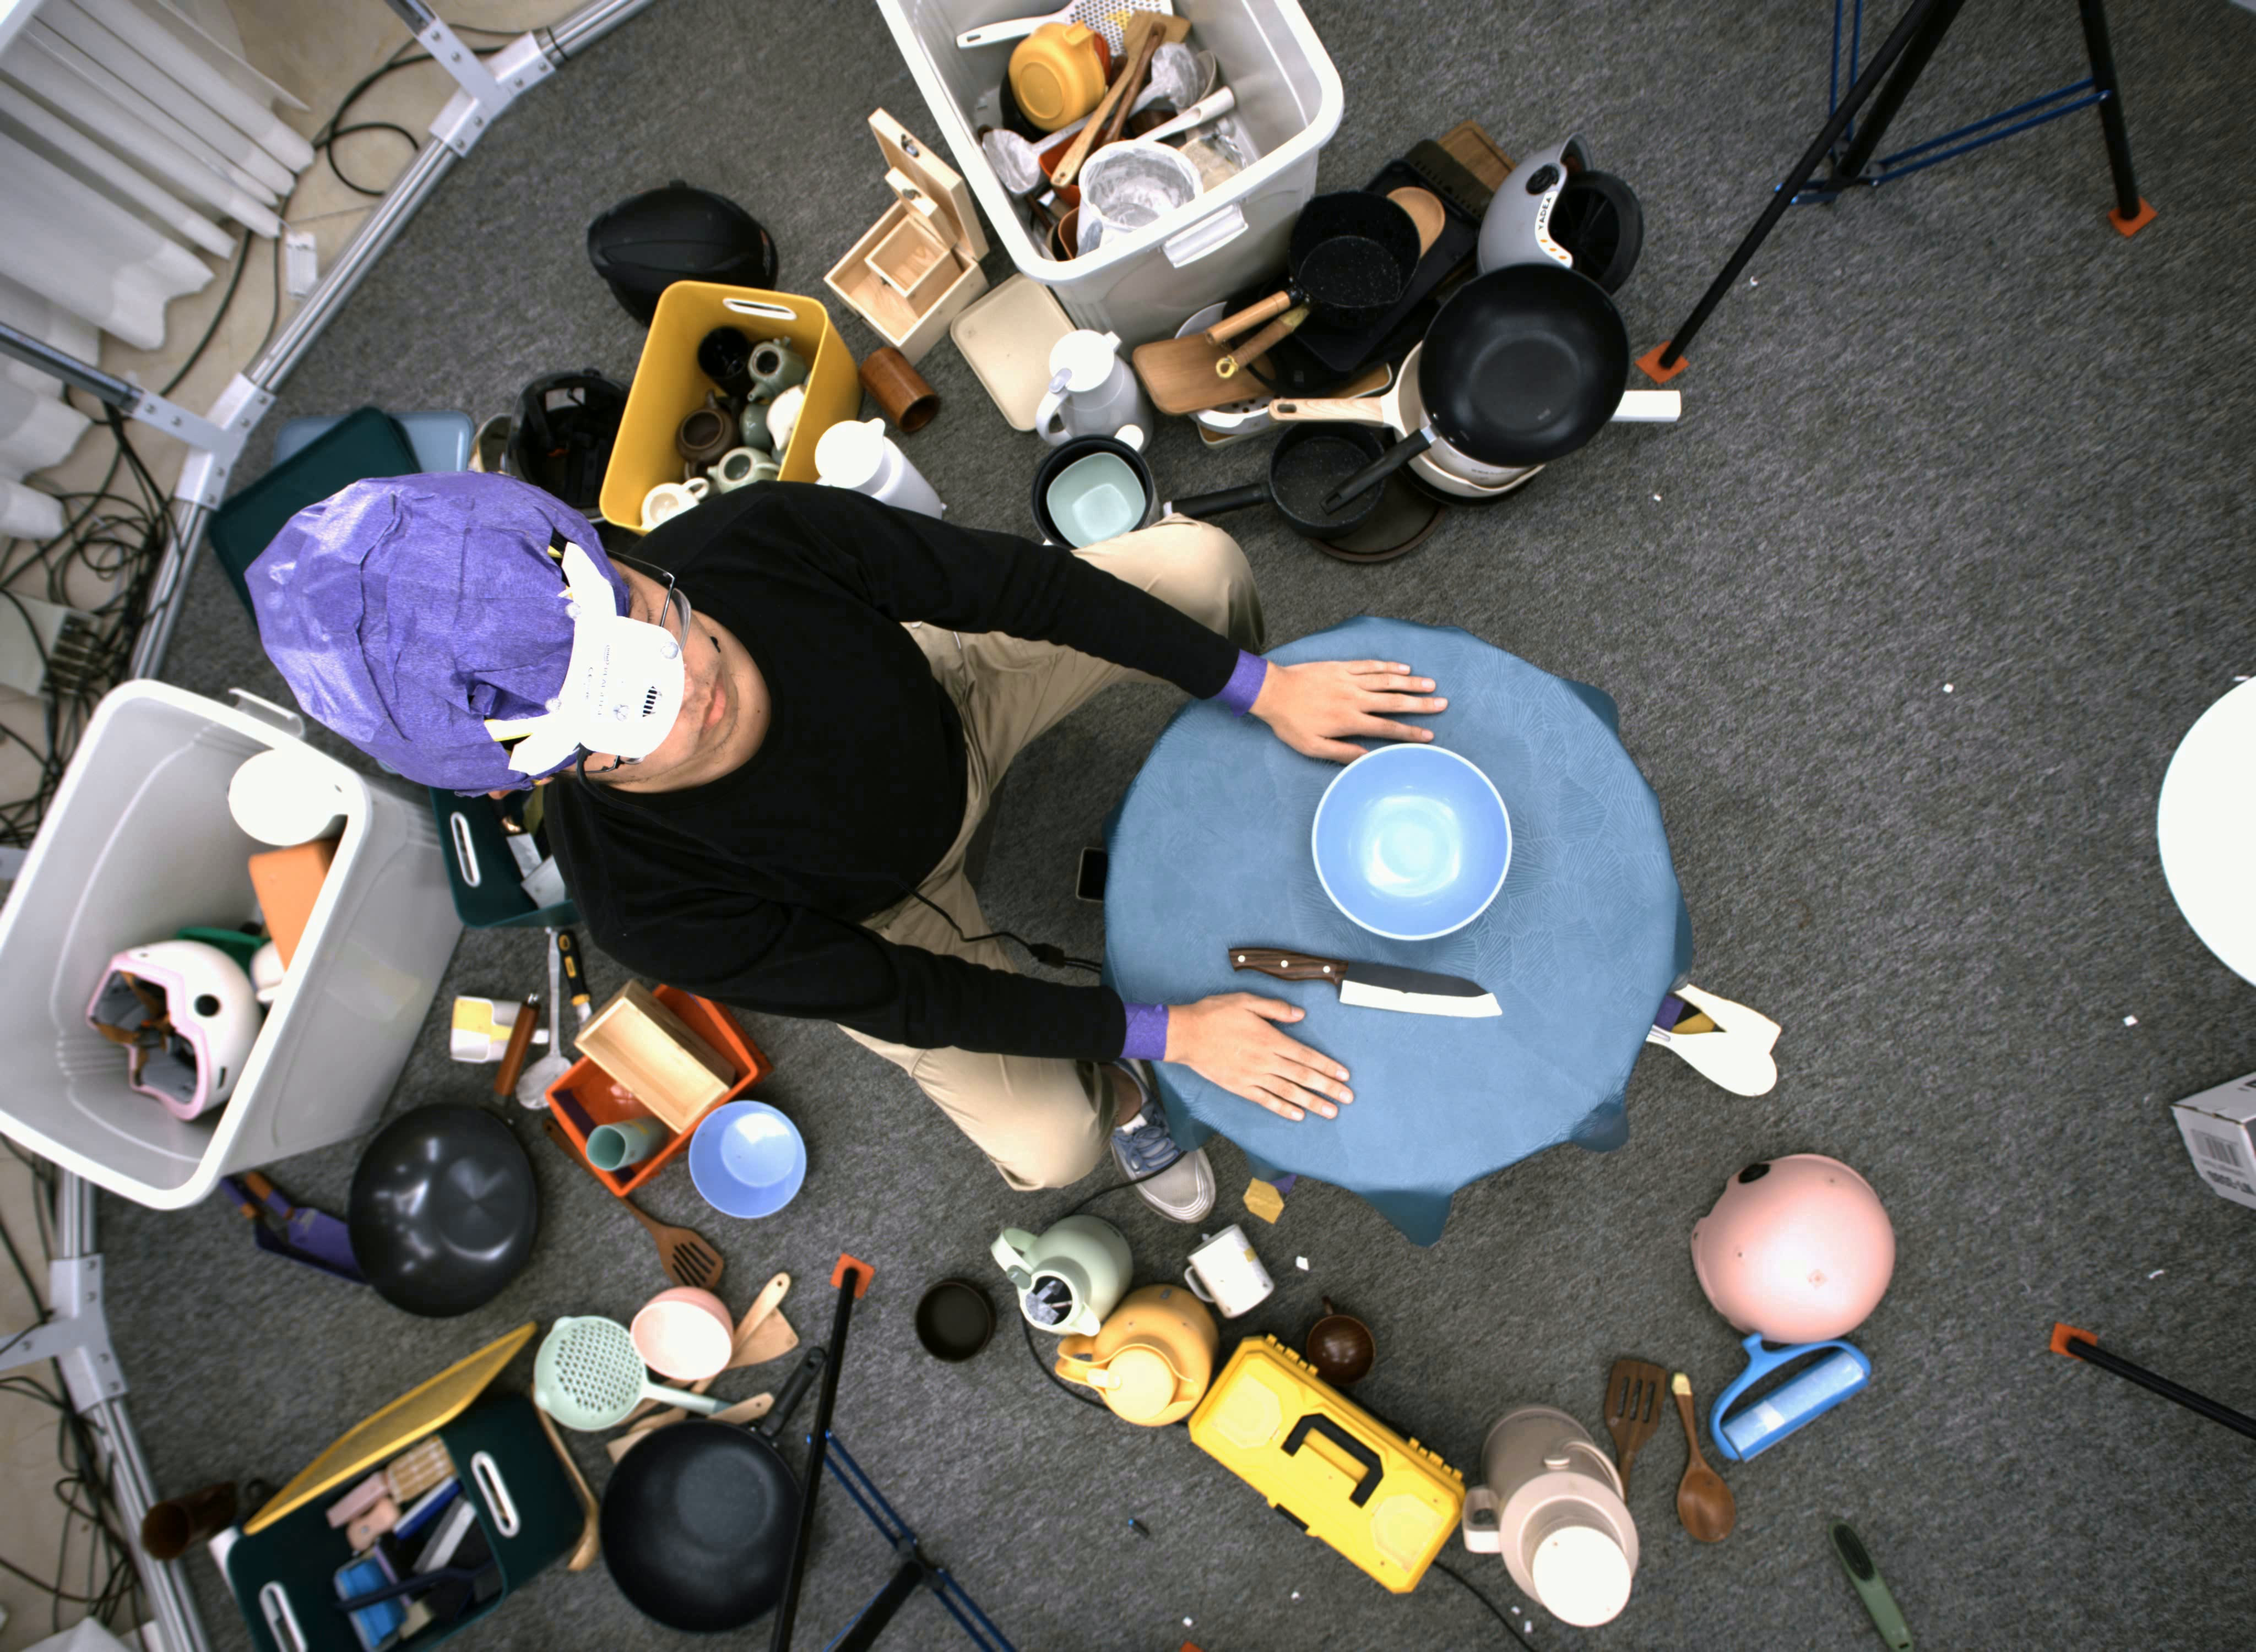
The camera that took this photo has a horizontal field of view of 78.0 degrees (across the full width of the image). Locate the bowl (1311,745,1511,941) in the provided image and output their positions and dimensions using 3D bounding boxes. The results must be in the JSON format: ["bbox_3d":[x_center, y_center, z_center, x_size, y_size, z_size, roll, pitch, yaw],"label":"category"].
[{"bbox_3d":[0.290,0.019,1.415,0.197,0.095,0.196,-1,87,13],"label":"bowl"}]

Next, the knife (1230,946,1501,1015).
[{"bbox_3d":[0.248,0.161,1.454,0.289,0.020,0.050,10,93,9],"label":"knife"}]
